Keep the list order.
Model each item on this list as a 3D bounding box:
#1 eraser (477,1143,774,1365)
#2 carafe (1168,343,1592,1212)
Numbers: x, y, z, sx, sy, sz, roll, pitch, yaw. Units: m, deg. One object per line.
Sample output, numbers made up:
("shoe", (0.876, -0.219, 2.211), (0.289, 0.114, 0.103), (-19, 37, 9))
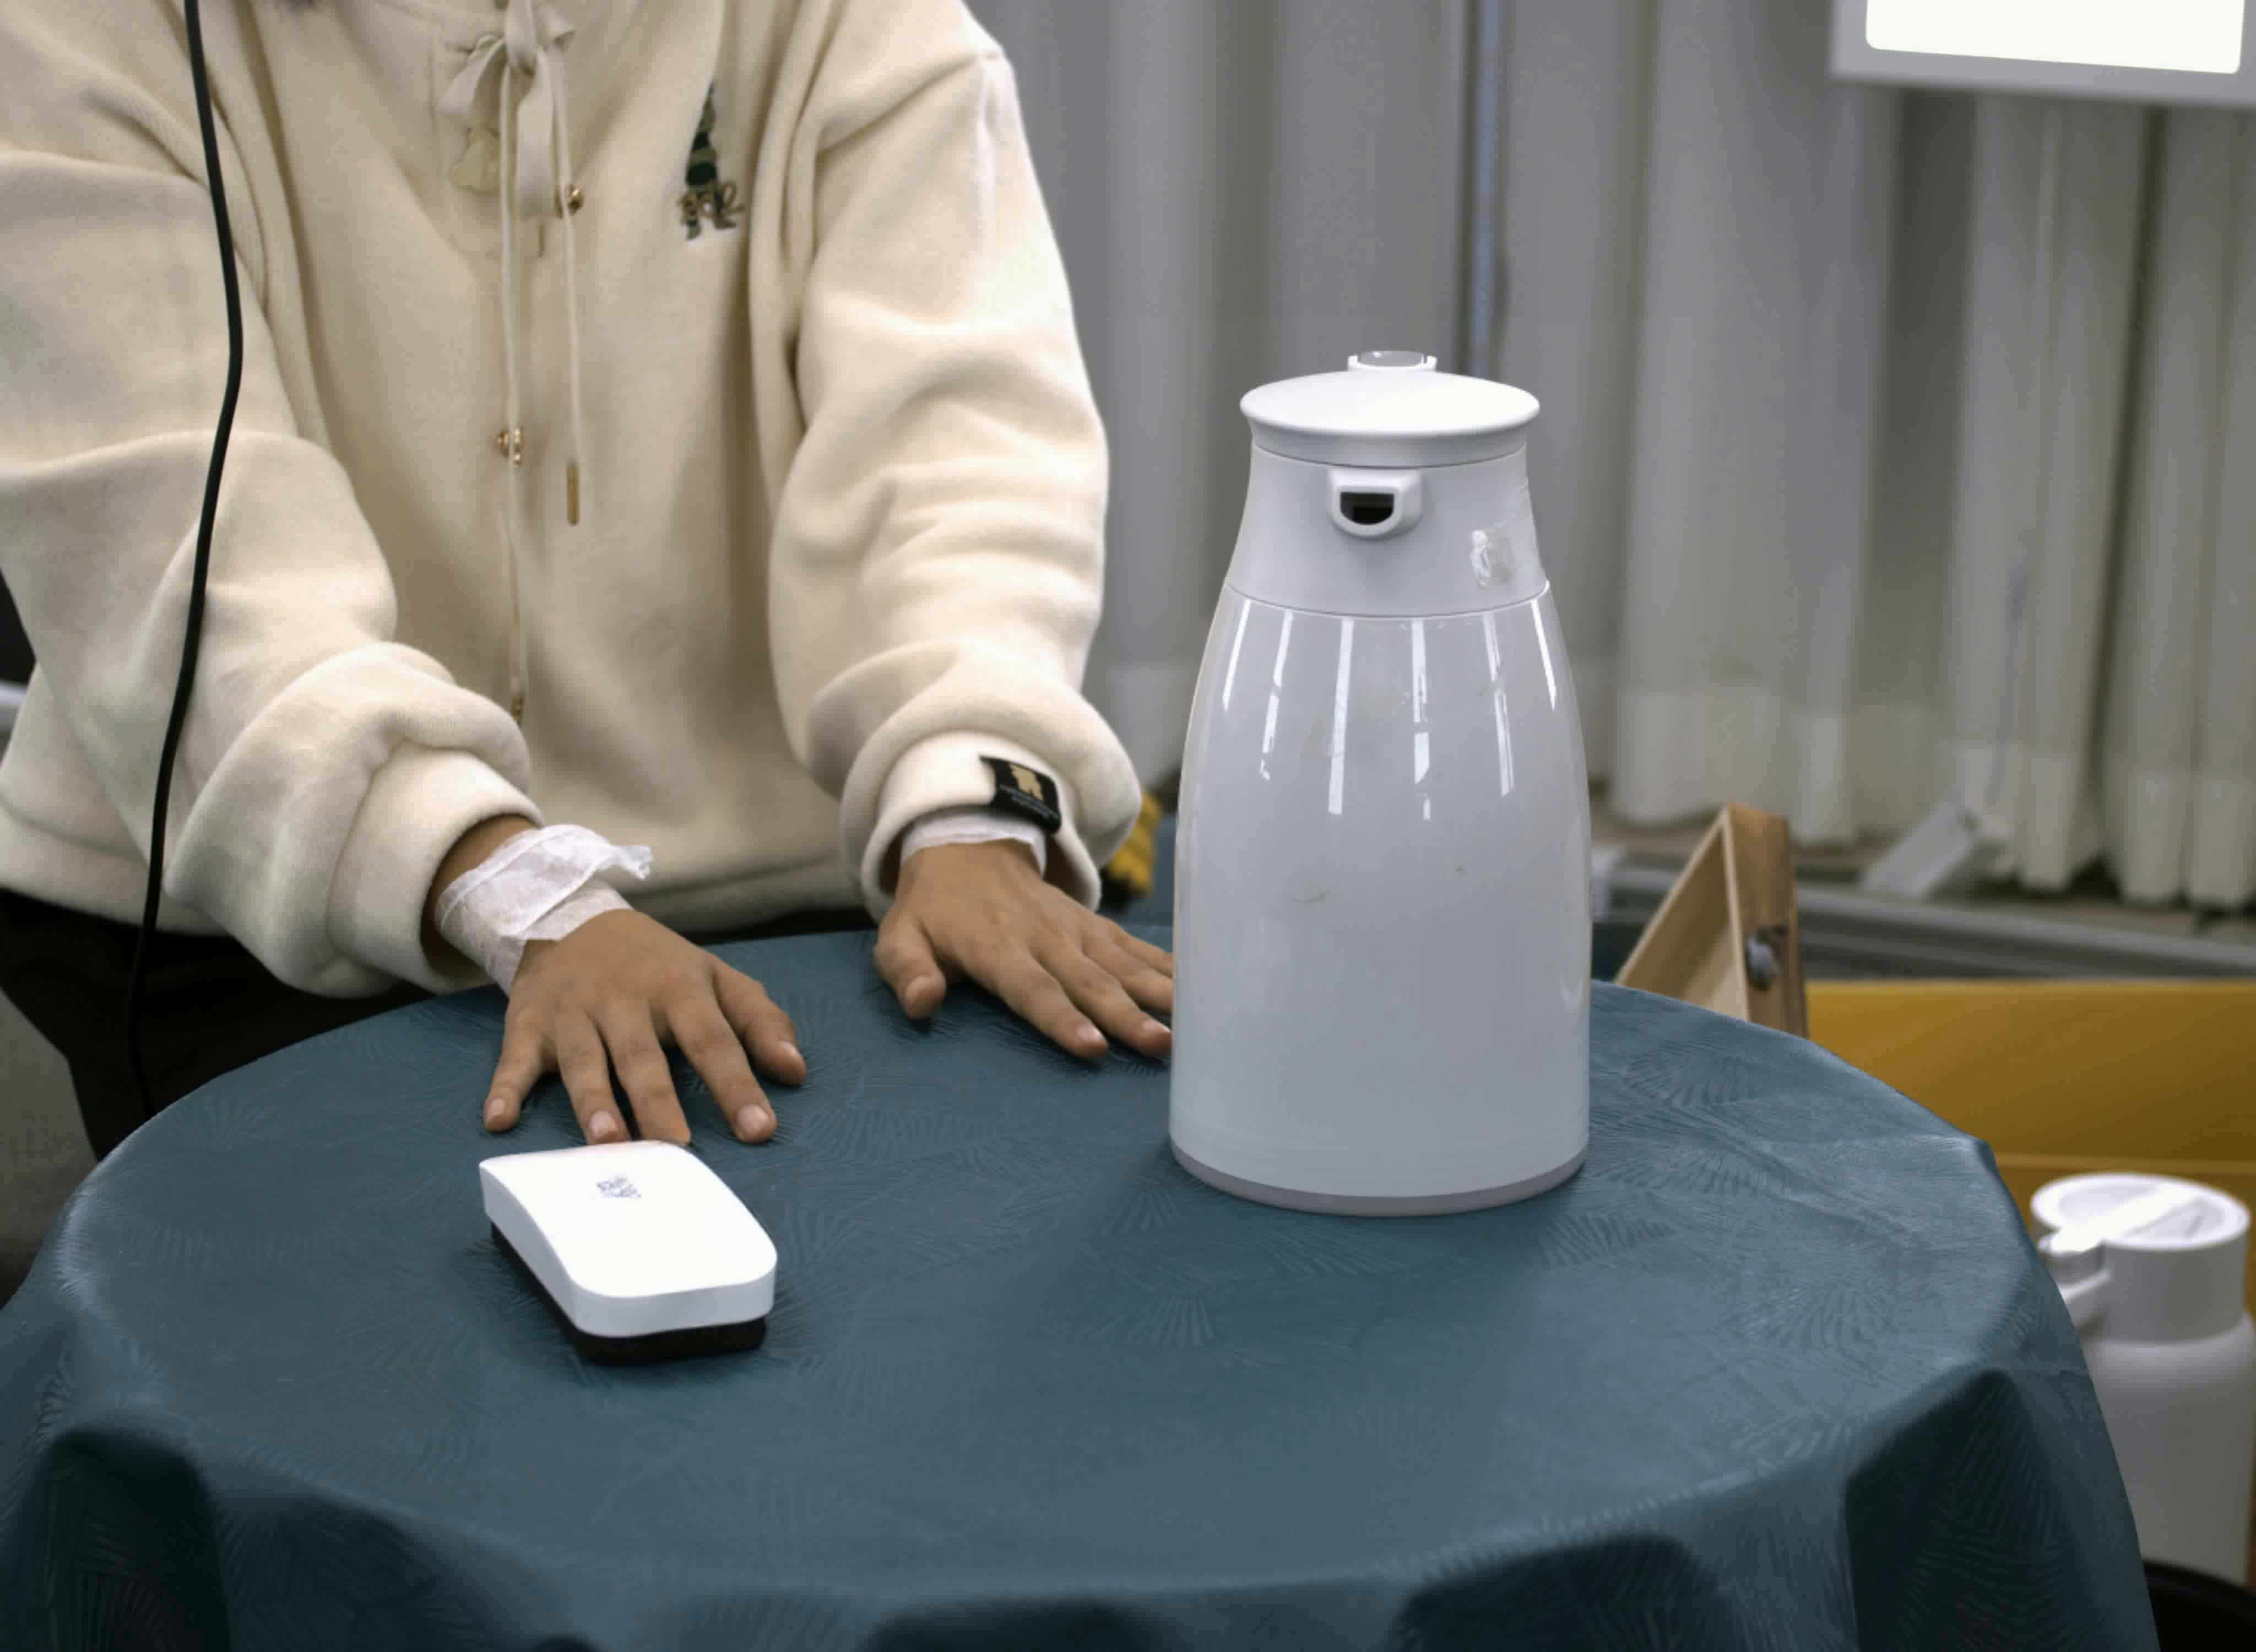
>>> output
("eraser", (-0.146, 0.120, 1.531), (0.063, 0.035, 0.130), (-2, 16, -21))
("carafe", (0.081, -0.023, 1.645), (0.132, 0.250, 0.167), (2, 15, 6))
